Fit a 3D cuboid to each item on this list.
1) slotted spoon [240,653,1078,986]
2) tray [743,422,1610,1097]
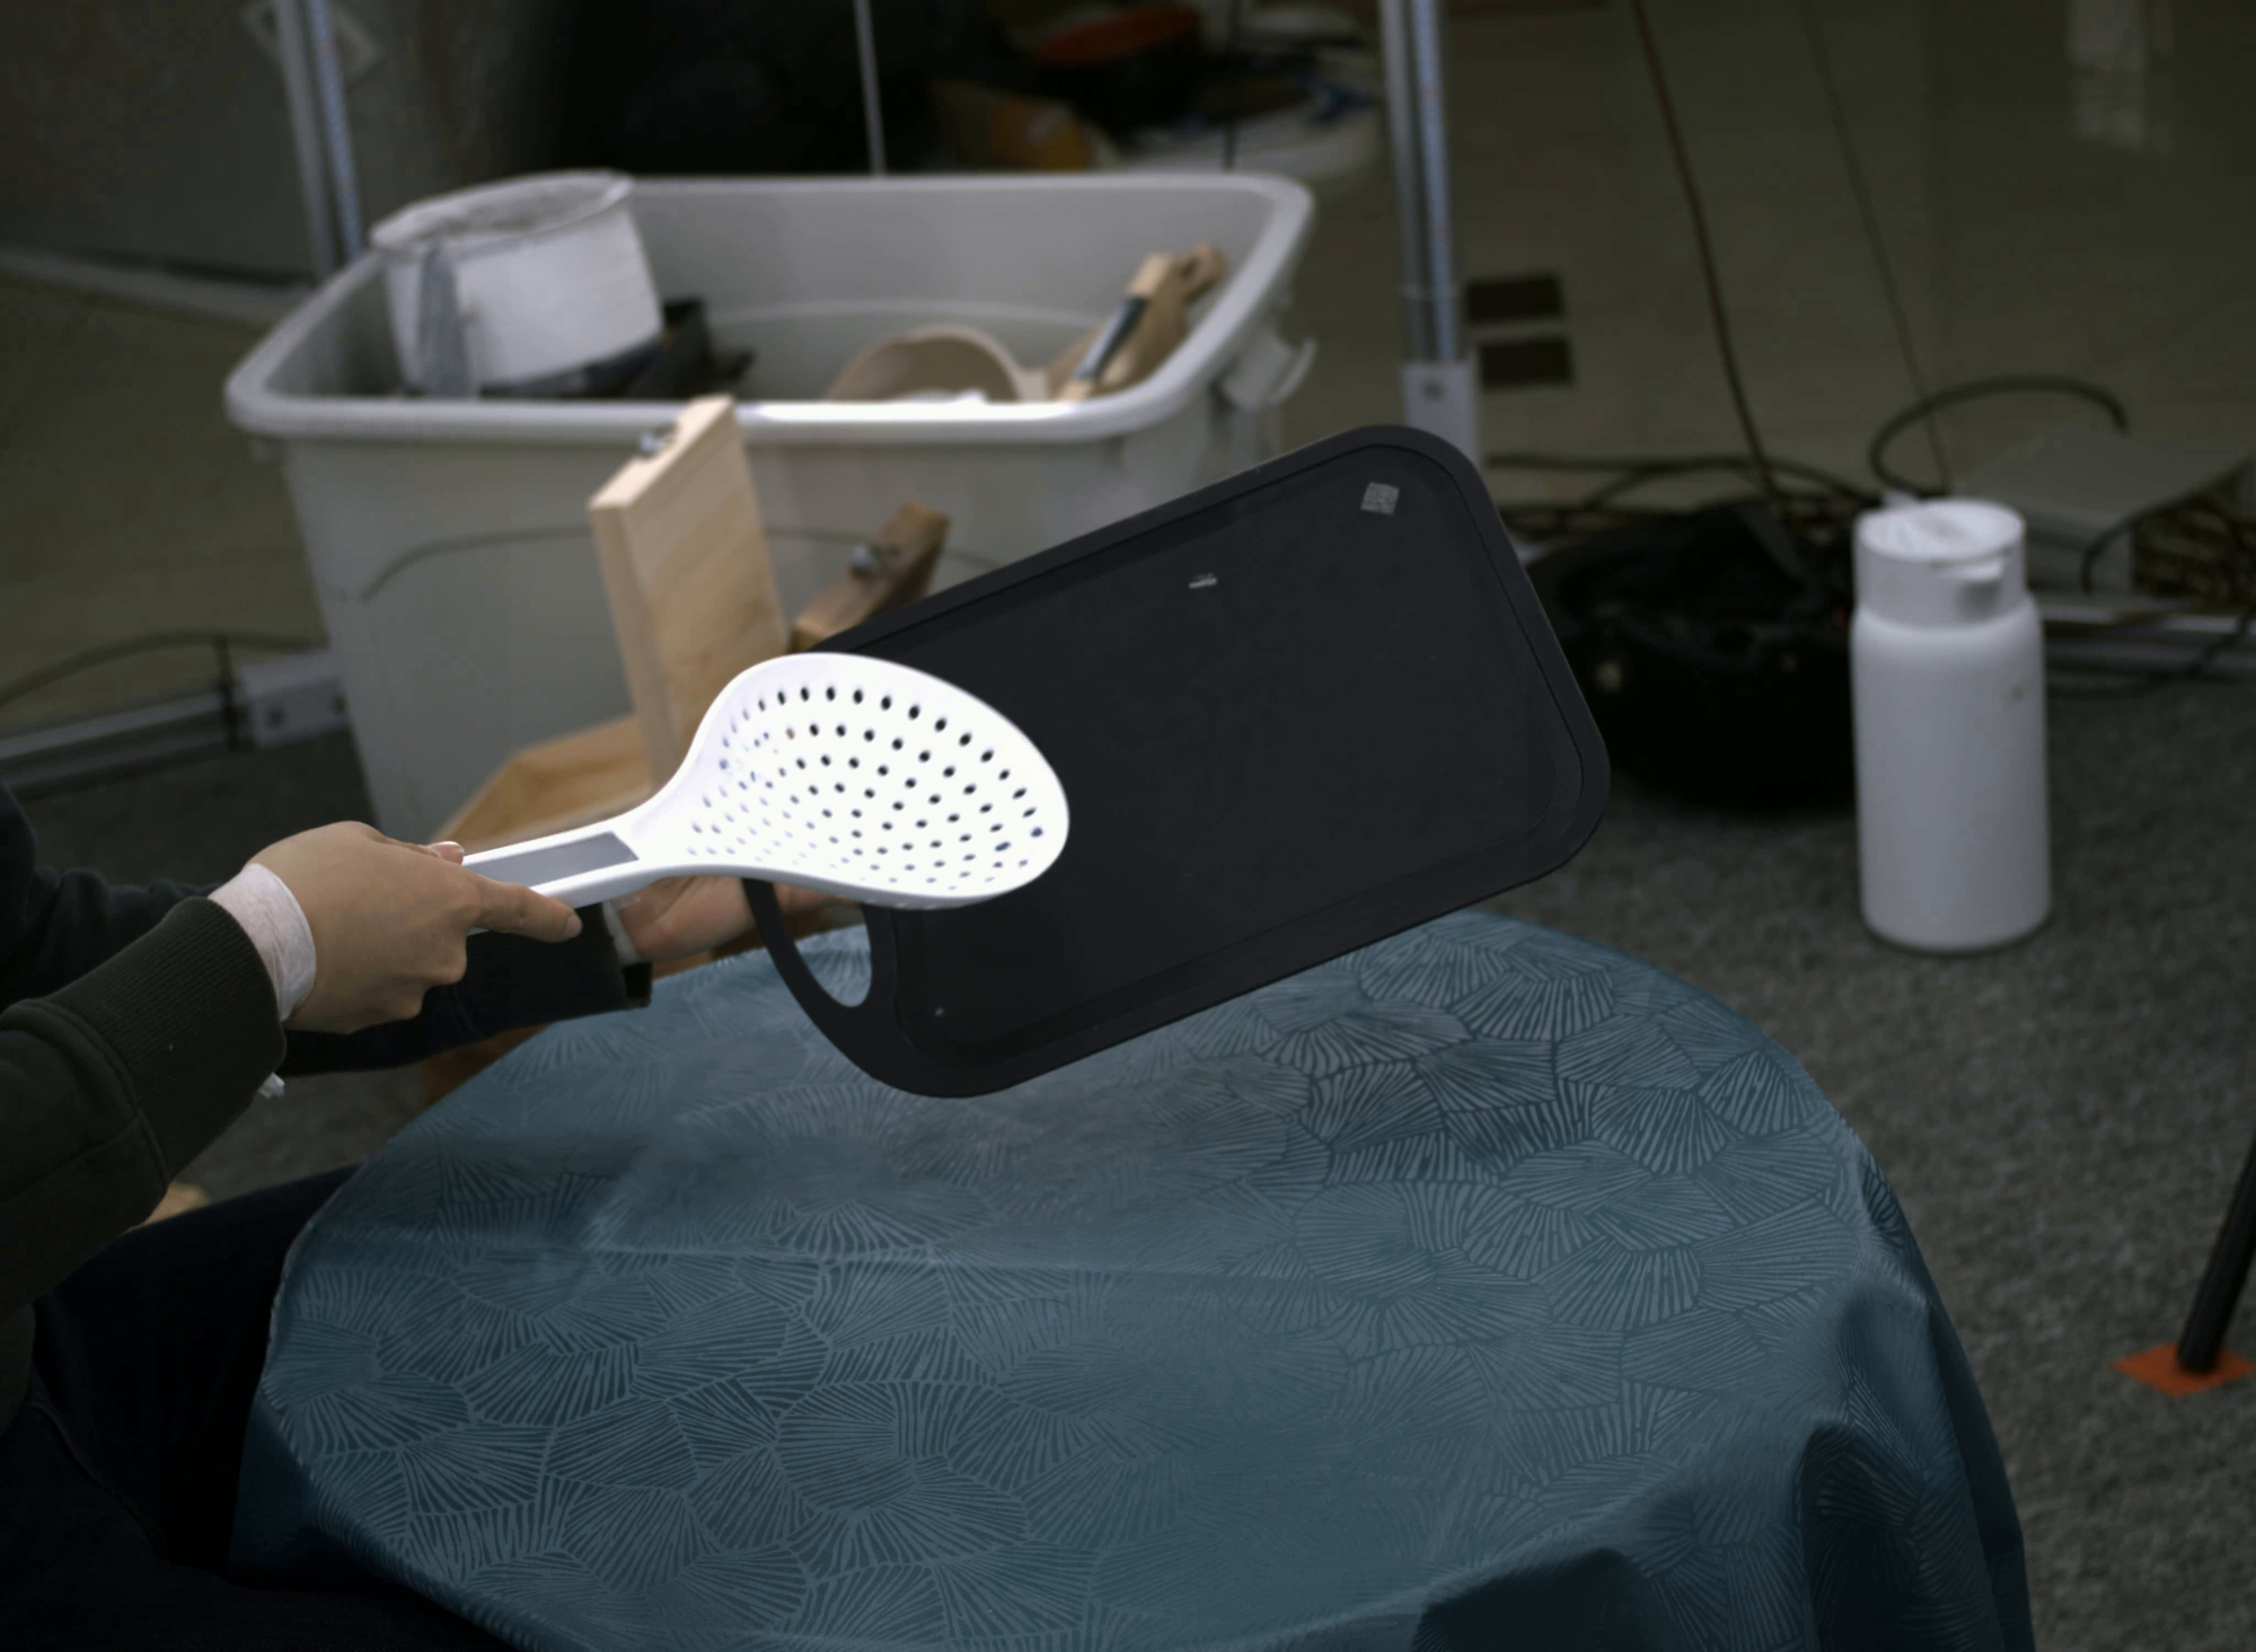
[{"bbox_3d":[-0.162,0.007,1.976,0.348,0.046,0.134,-12,46,-46],"label":"slotted spoon"},{"bbox_3d":[0.010,-0.025,2.163,0.325,0.010,0.208,-22,66,0],"label":"tray"}]
